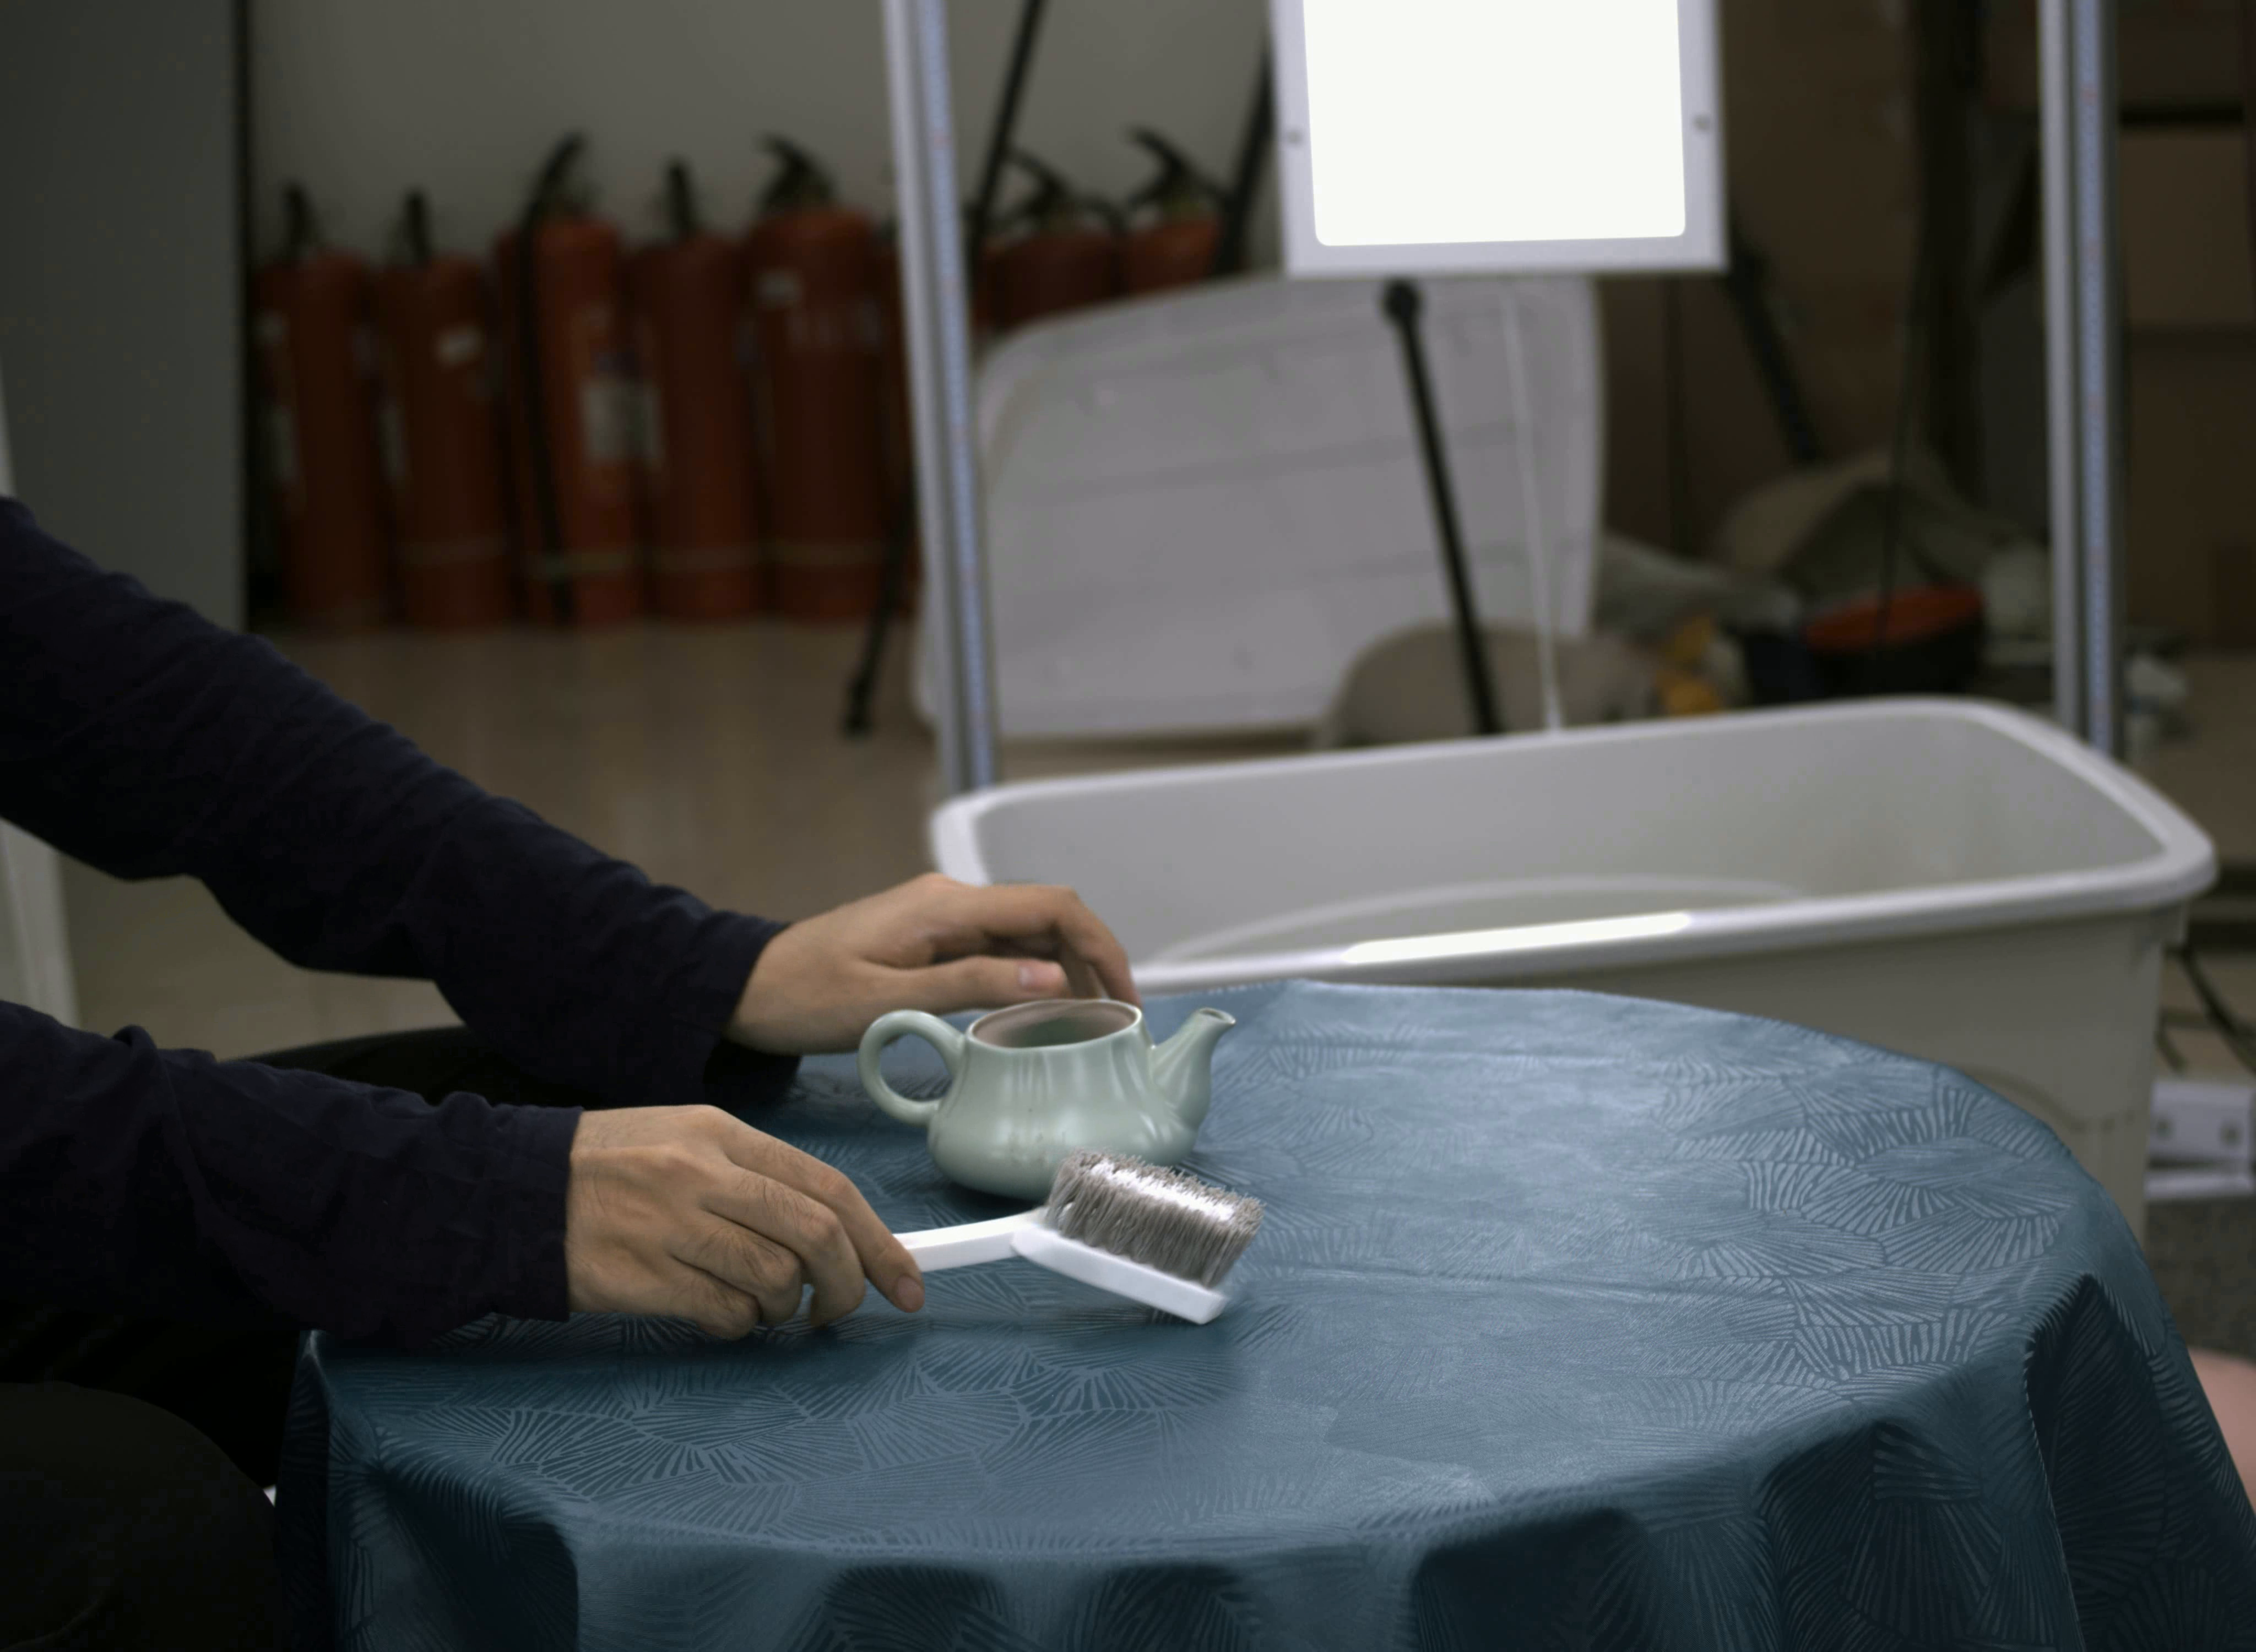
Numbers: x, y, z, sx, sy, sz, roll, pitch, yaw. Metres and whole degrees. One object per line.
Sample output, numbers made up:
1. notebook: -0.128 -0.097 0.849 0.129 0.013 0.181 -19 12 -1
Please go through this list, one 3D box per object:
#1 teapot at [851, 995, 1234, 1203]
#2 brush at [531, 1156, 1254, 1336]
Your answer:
1. teapot: -0.029 0.094 1.916 0.138 0.061 0.095 -1 17 13
2. brush: -0.079 0.127 1.785 0.246 0.050 0.034 5 26 16
